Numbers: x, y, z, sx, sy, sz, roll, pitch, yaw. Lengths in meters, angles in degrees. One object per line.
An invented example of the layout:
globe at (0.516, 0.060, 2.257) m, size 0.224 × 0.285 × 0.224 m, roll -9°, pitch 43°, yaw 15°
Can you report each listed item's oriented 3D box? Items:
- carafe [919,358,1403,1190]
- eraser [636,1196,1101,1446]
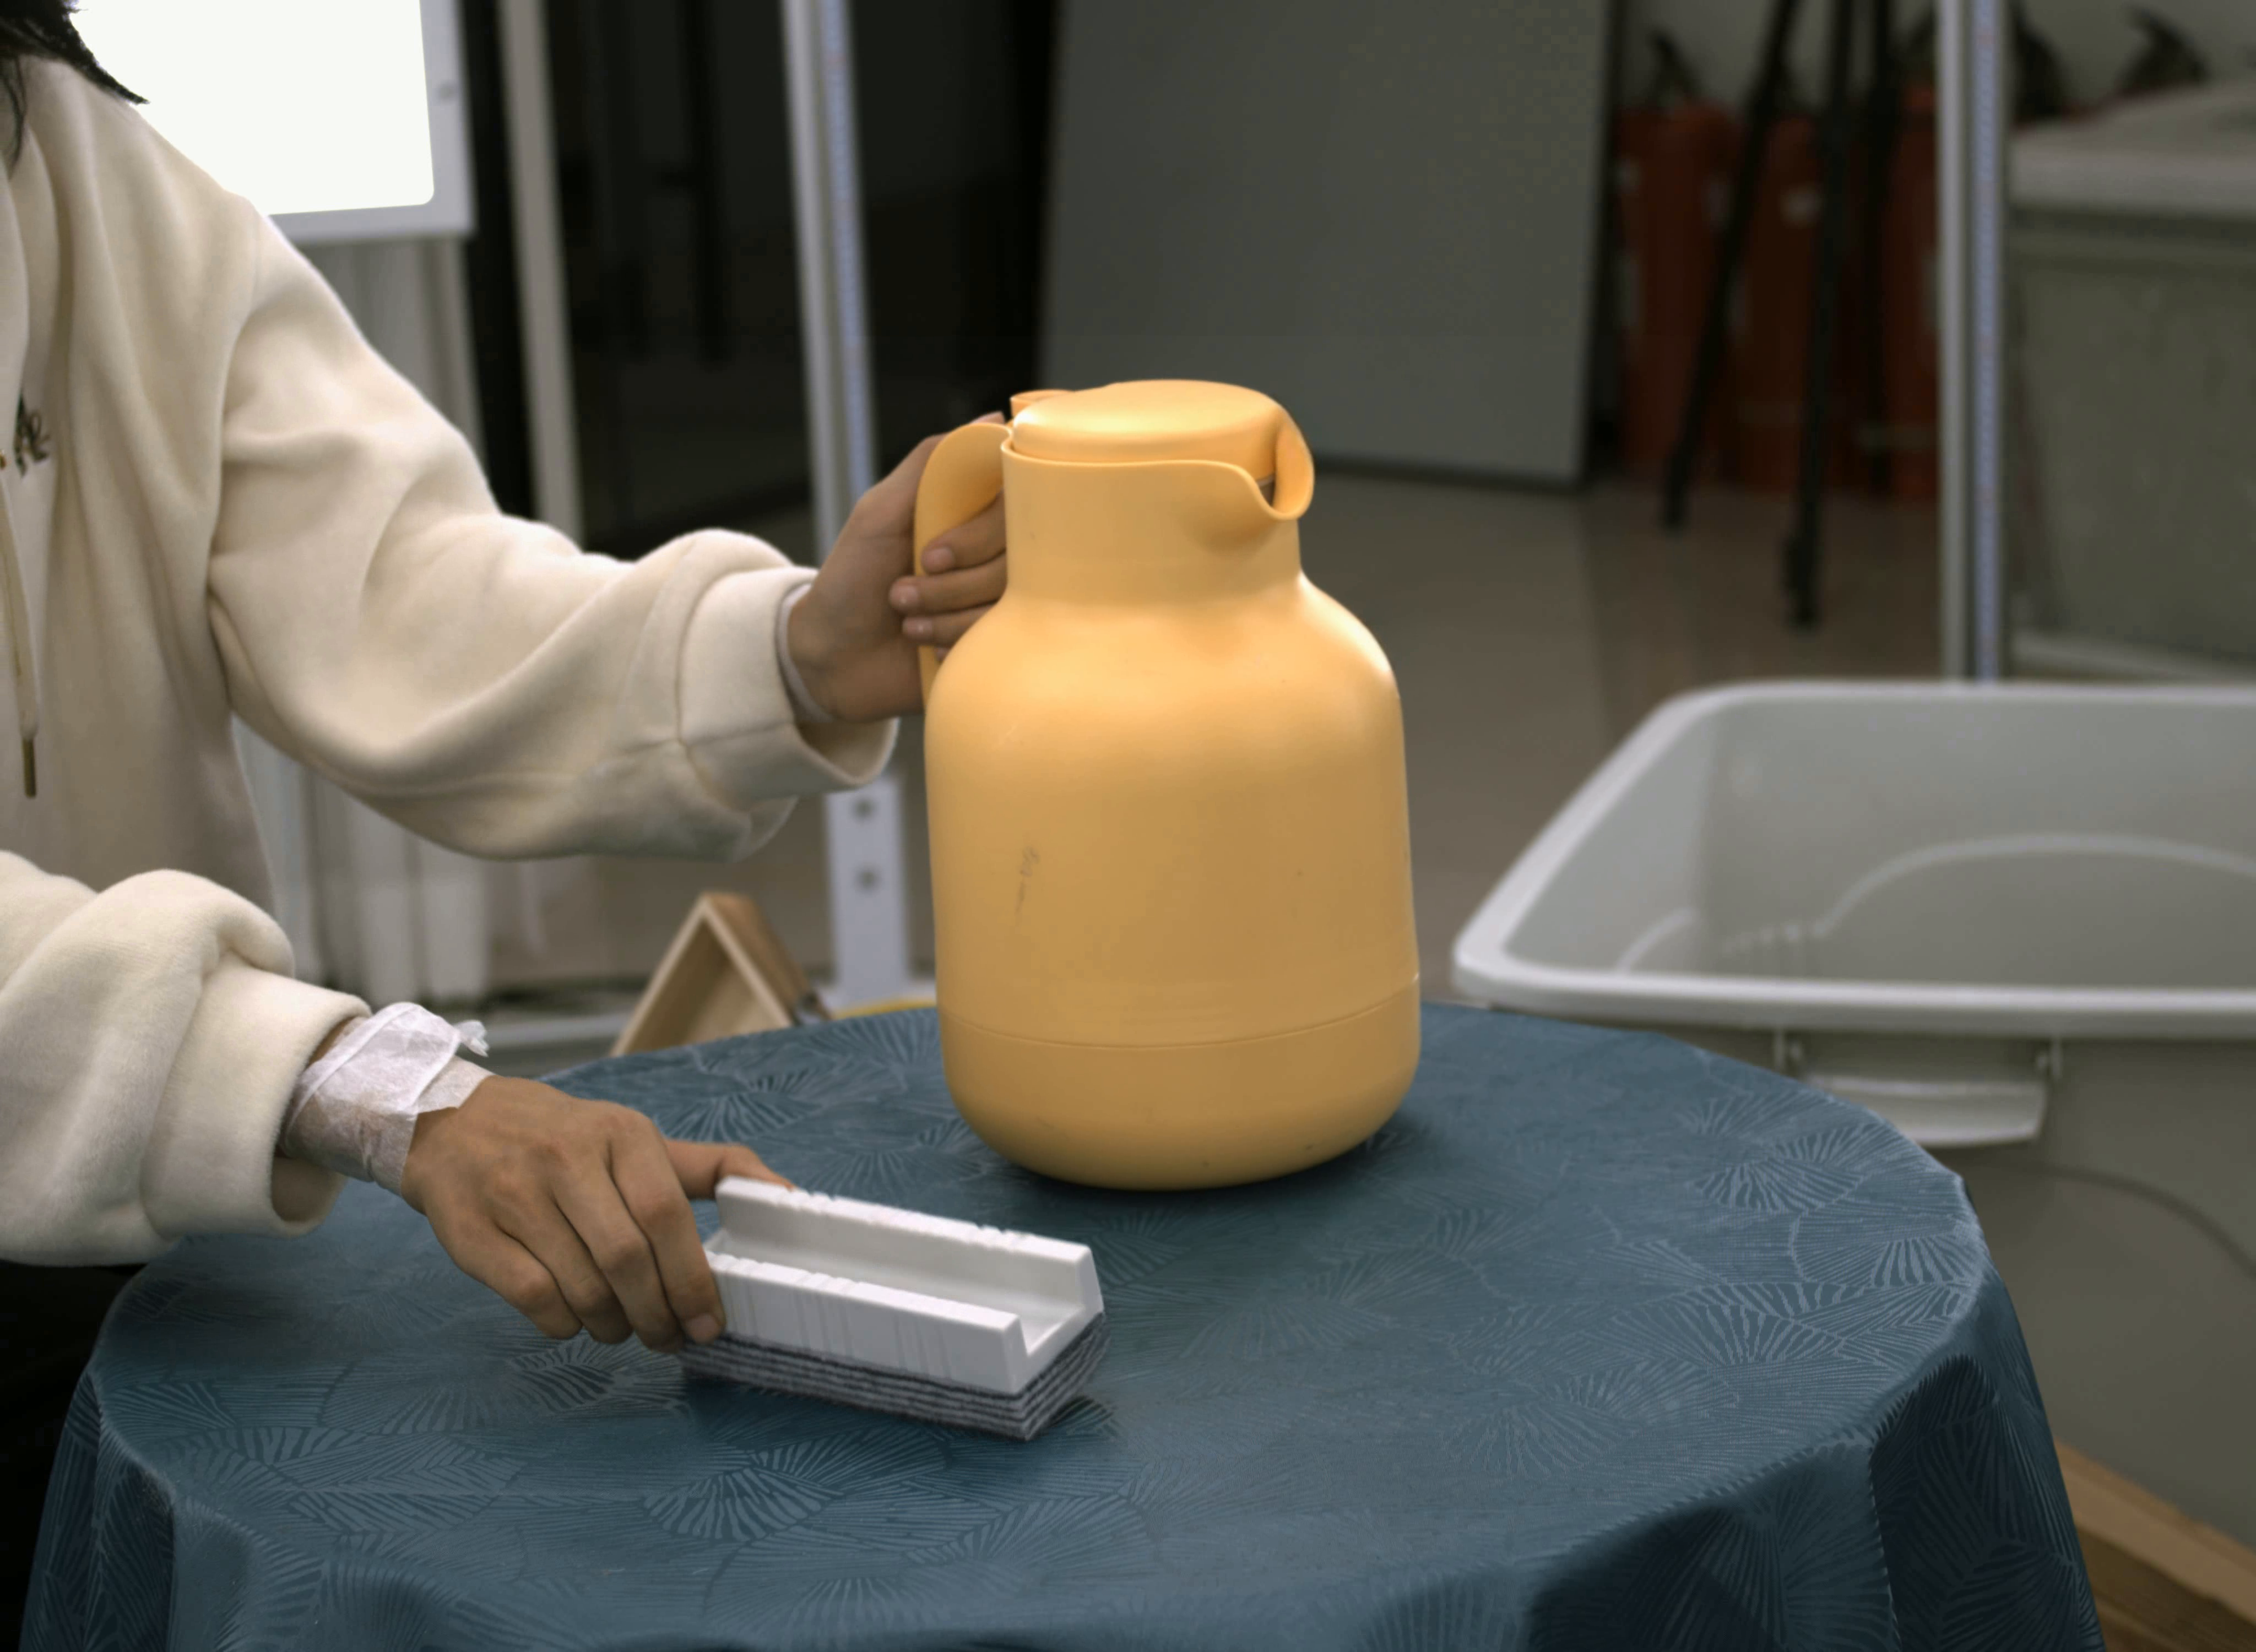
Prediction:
carafe at (0.000, -0.024, 1.801) m, size 0.160 × 0.263 × 0.204 m, roll -9°, pitch 15°, yaw -34°
eraser at (-0.075, 0.145, 1.589) m, size 0.135 × 0.047 × 0.049 m, roll 6°, pitch 30°, yaw 32°
